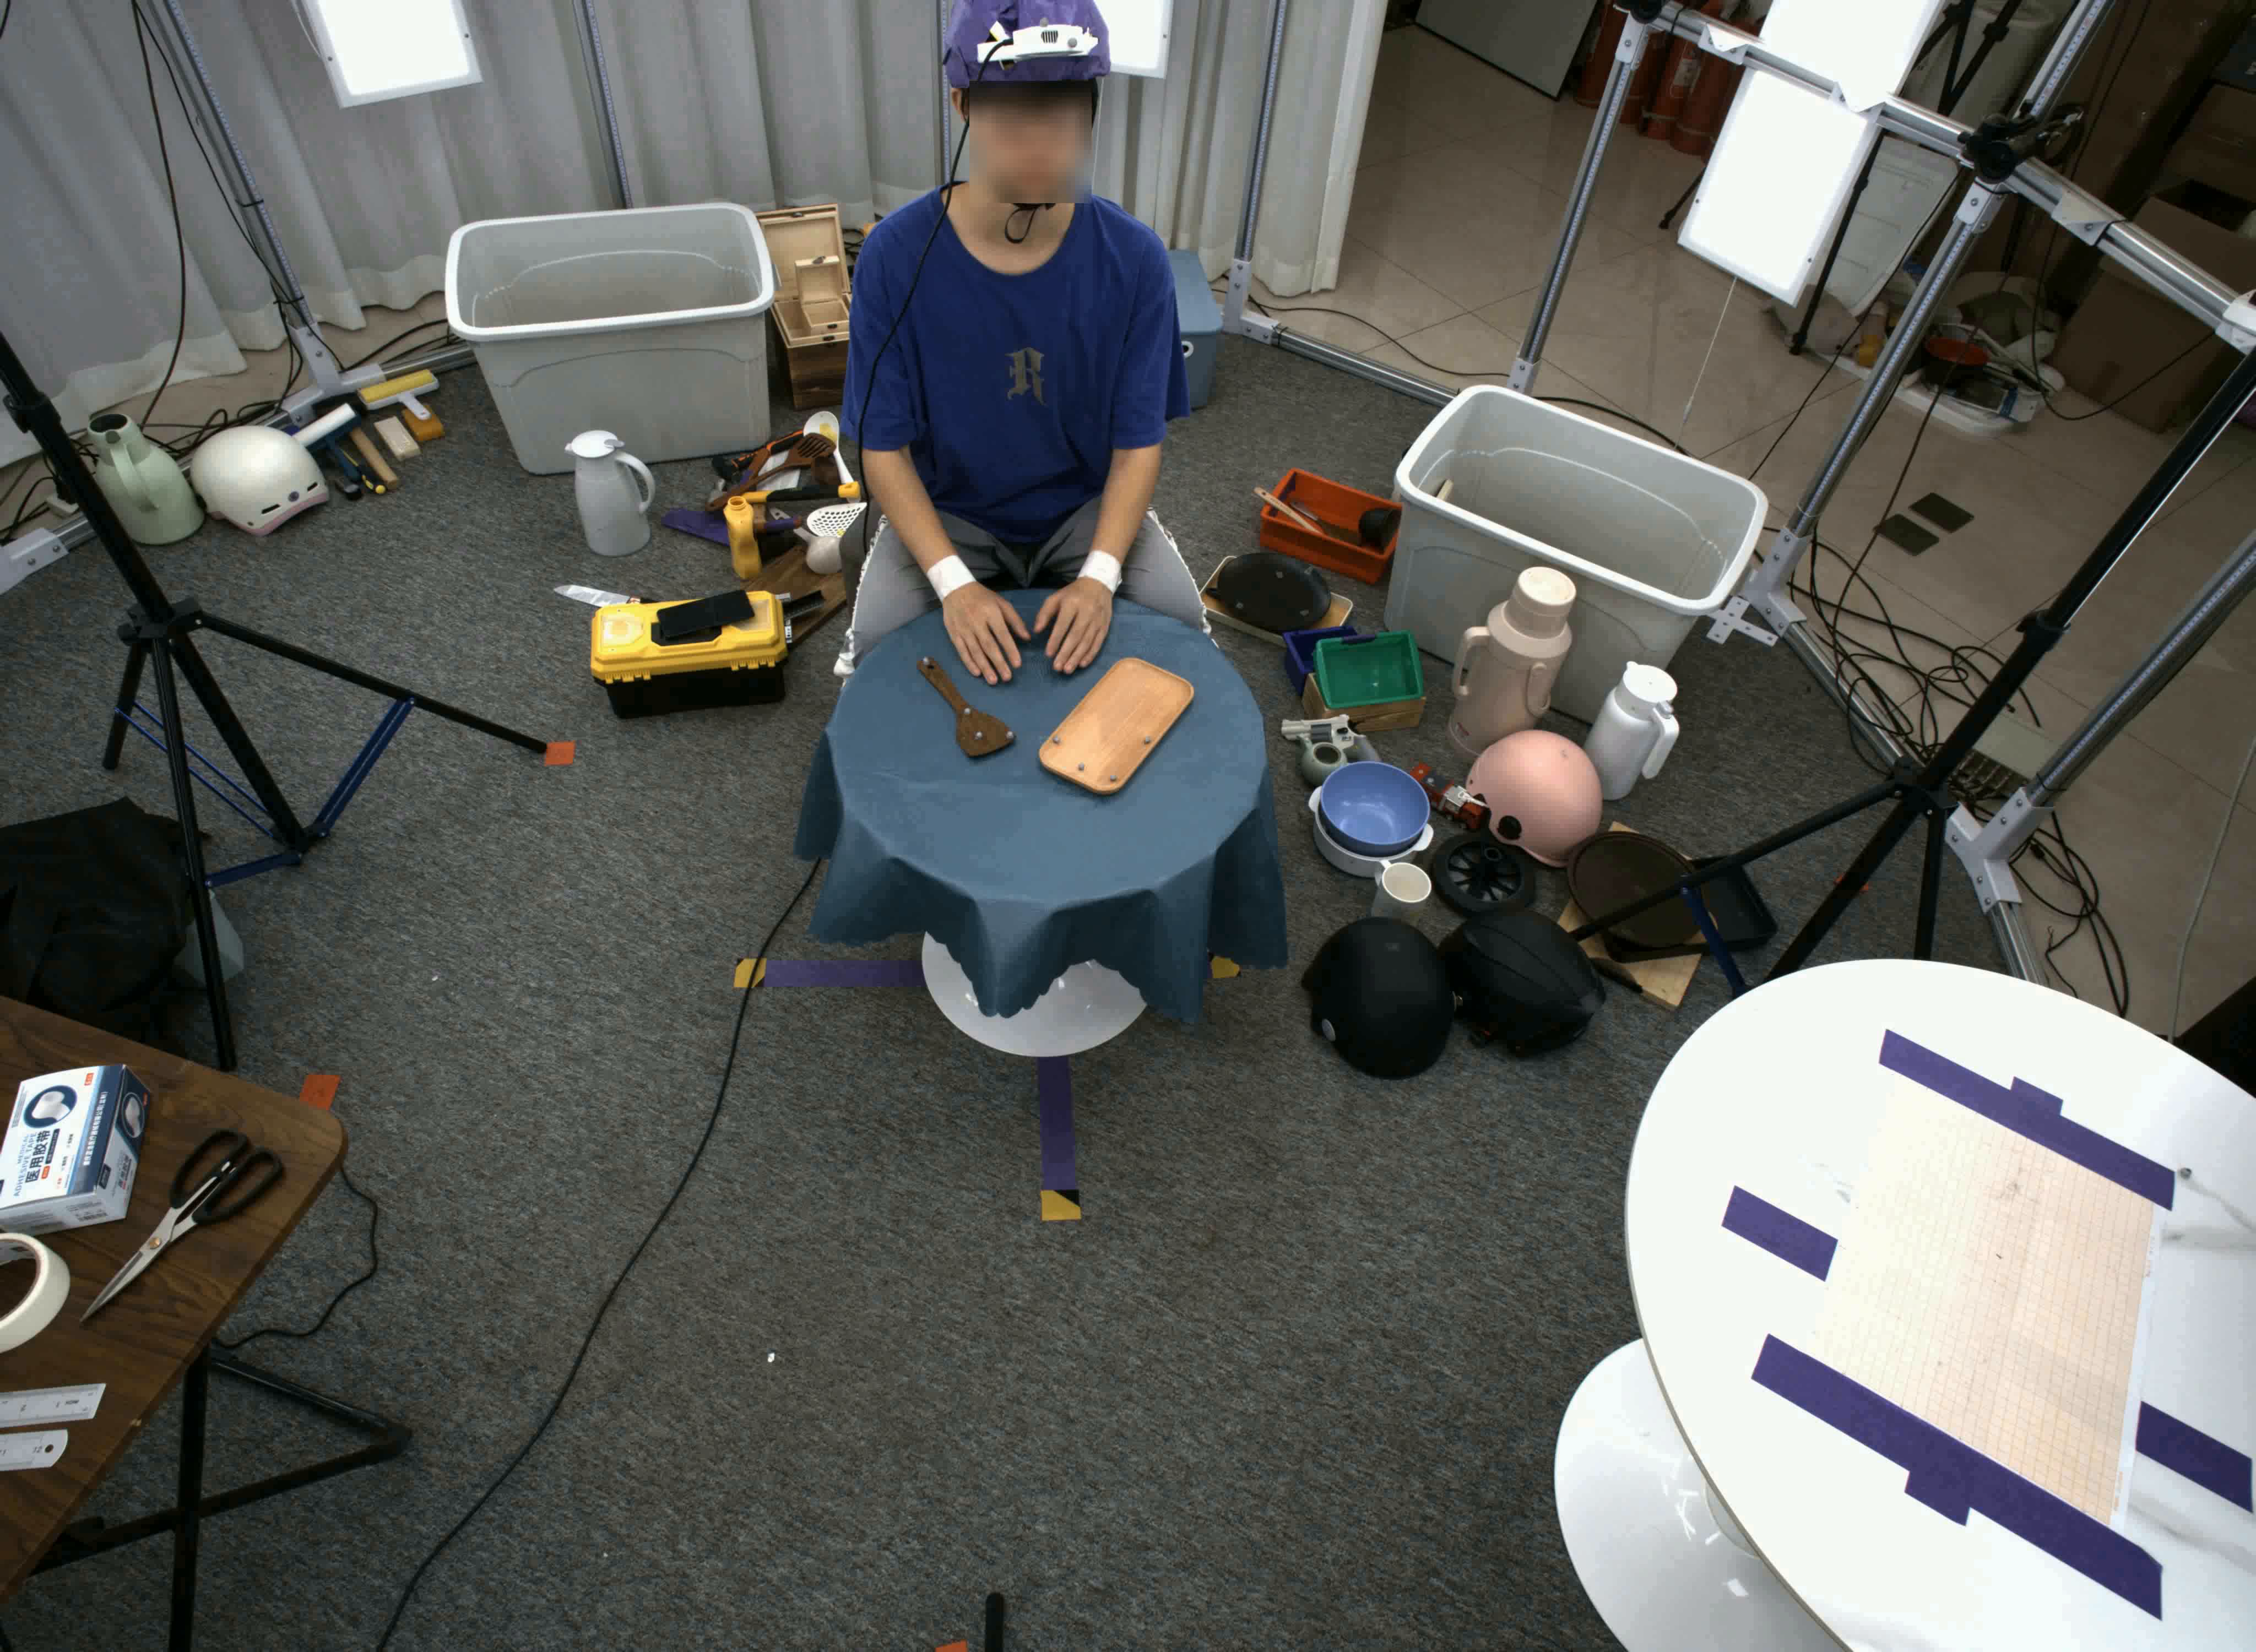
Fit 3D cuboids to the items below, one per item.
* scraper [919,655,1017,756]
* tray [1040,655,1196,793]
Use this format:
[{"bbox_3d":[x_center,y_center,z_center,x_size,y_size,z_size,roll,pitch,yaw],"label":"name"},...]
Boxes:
[{"bbox_3d":[-0.234,-0.173,1.801,0.076,0.010,0.215,-24,54,-23],"label":"scraper"},{"bbox_3d":[-0.012,-0.144,1.786,0.131,0.022,0.254,28,53,16],"label":"tray"}]
